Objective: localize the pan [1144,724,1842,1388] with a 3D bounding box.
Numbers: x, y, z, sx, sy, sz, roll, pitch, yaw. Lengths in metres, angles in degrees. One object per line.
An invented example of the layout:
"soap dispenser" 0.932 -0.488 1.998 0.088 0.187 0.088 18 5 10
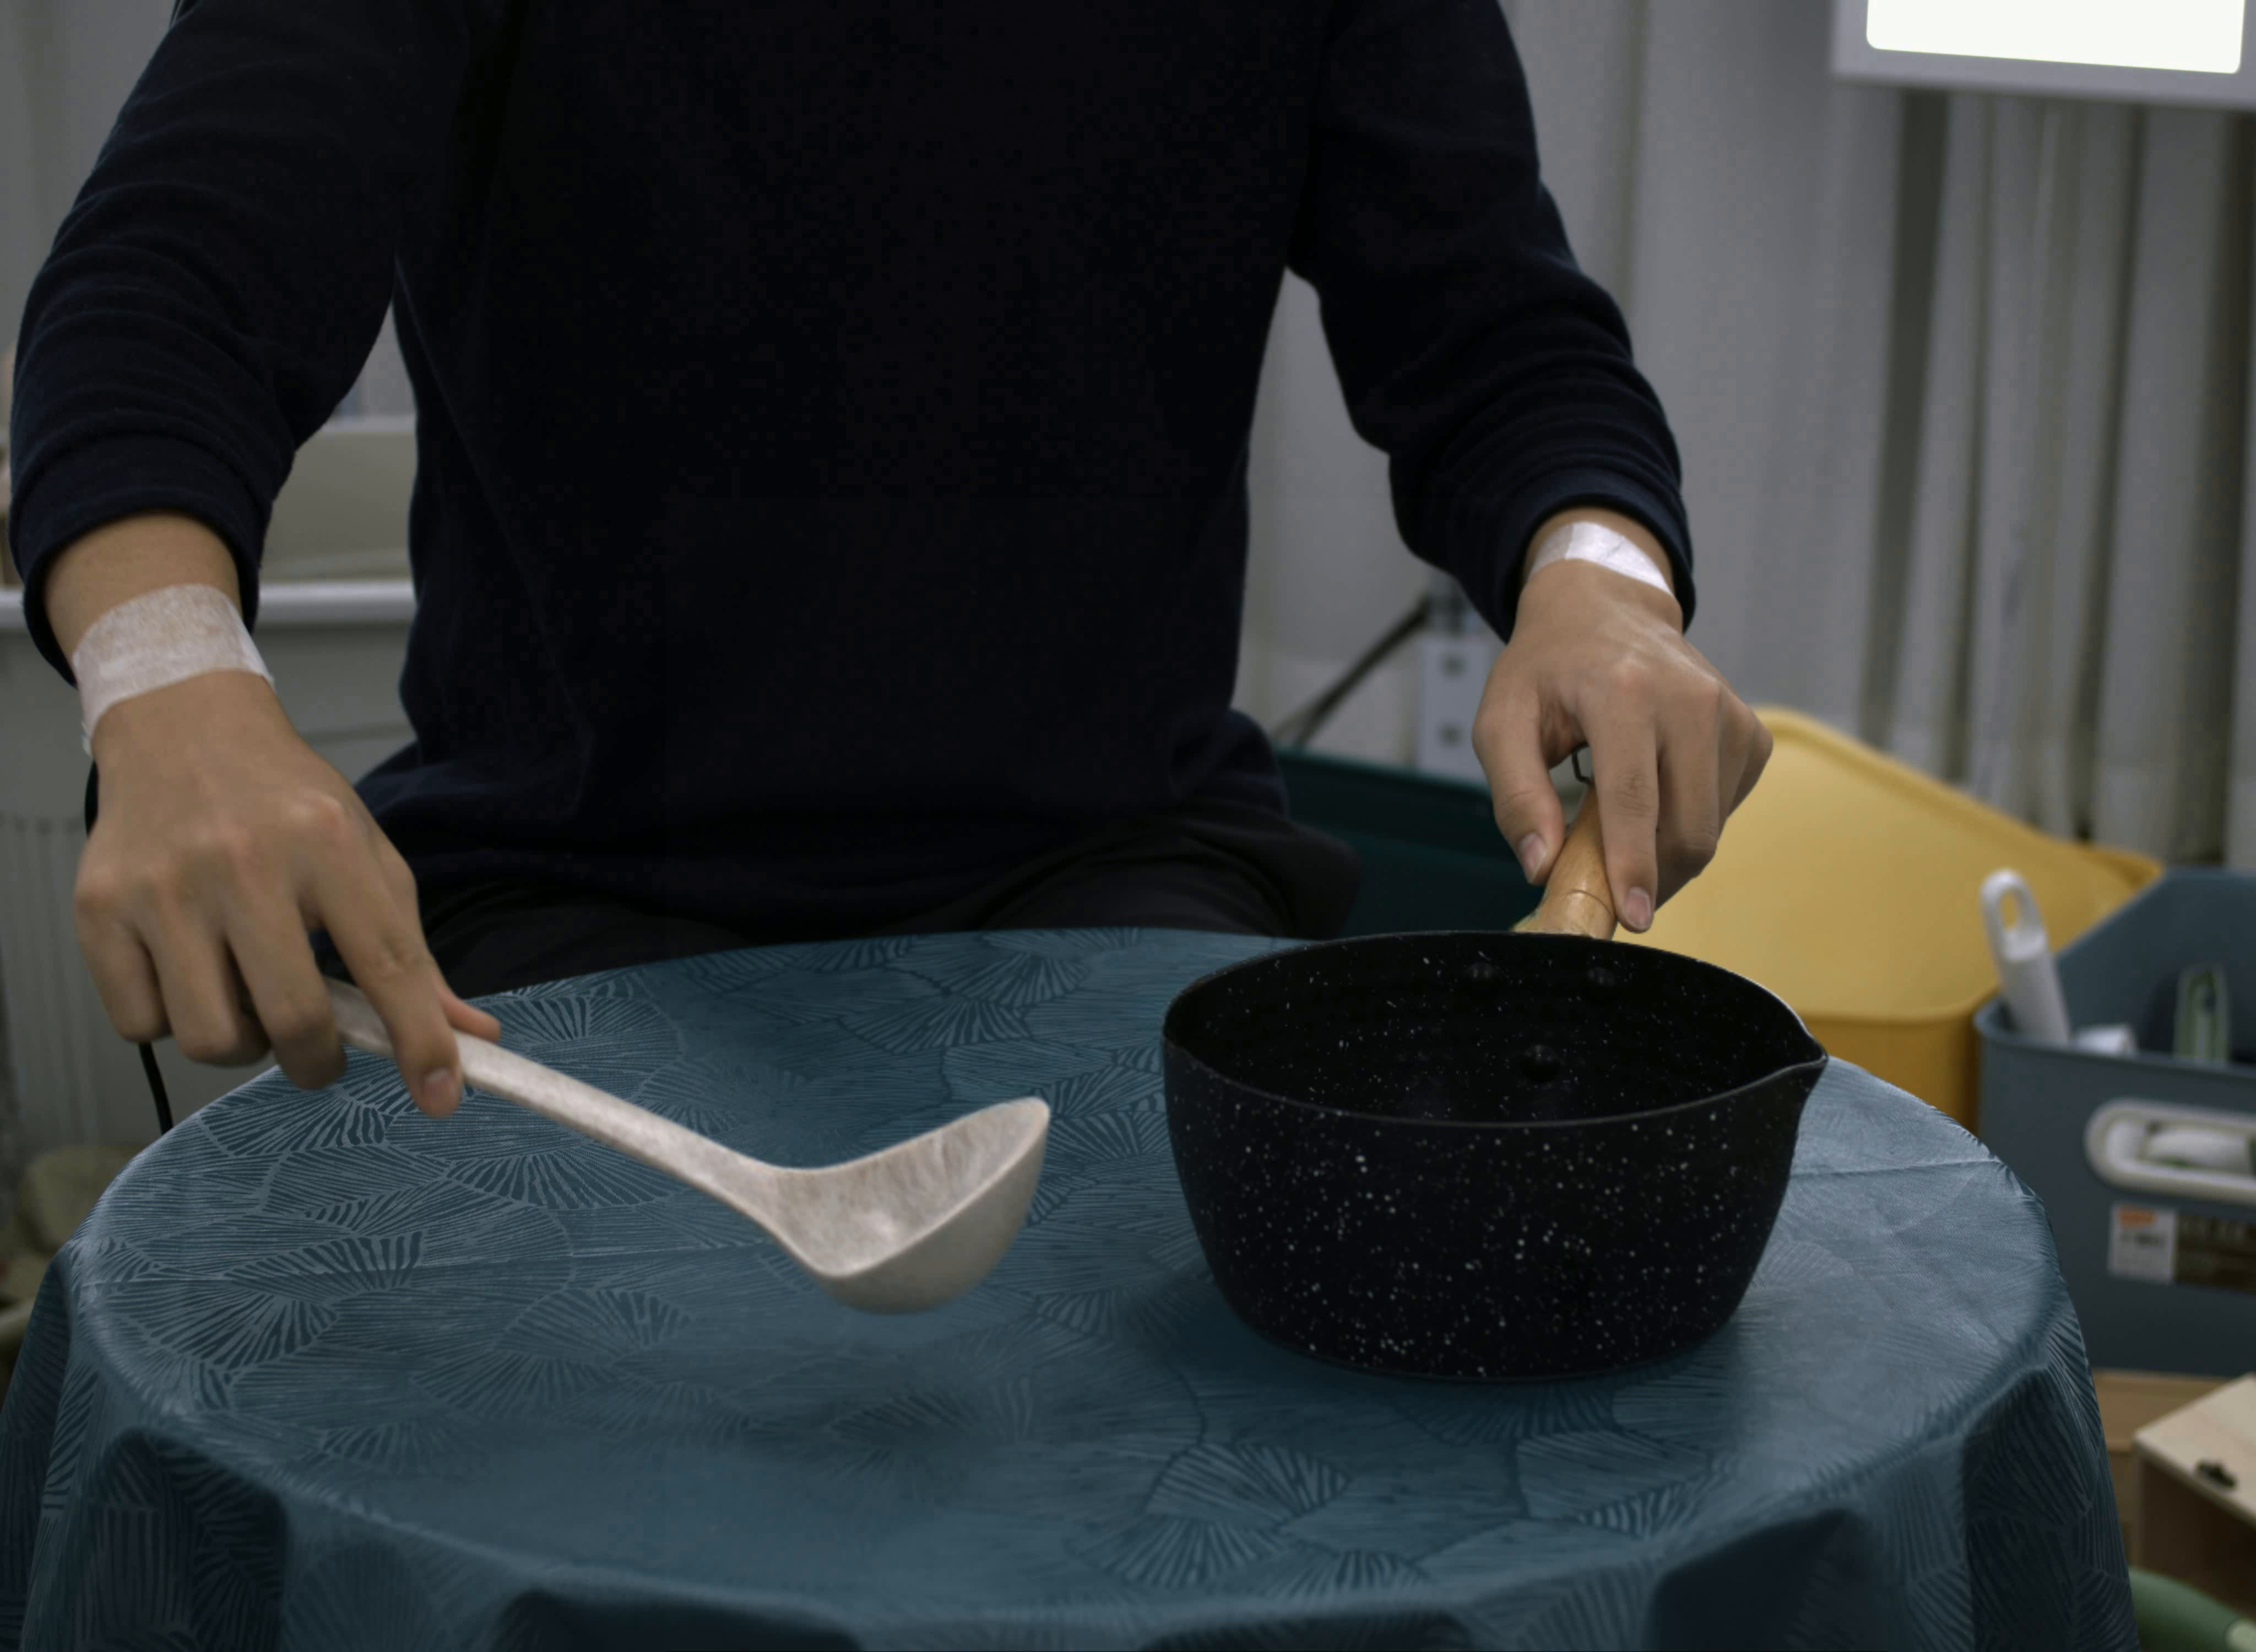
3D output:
"pan" 0.122 0.064 1.597 0.206 0.109 0.342 3 17 14

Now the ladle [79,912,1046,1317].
"ladle" -0.156 0.056 1.439 0.274 0.070 0.089 24 33 3
